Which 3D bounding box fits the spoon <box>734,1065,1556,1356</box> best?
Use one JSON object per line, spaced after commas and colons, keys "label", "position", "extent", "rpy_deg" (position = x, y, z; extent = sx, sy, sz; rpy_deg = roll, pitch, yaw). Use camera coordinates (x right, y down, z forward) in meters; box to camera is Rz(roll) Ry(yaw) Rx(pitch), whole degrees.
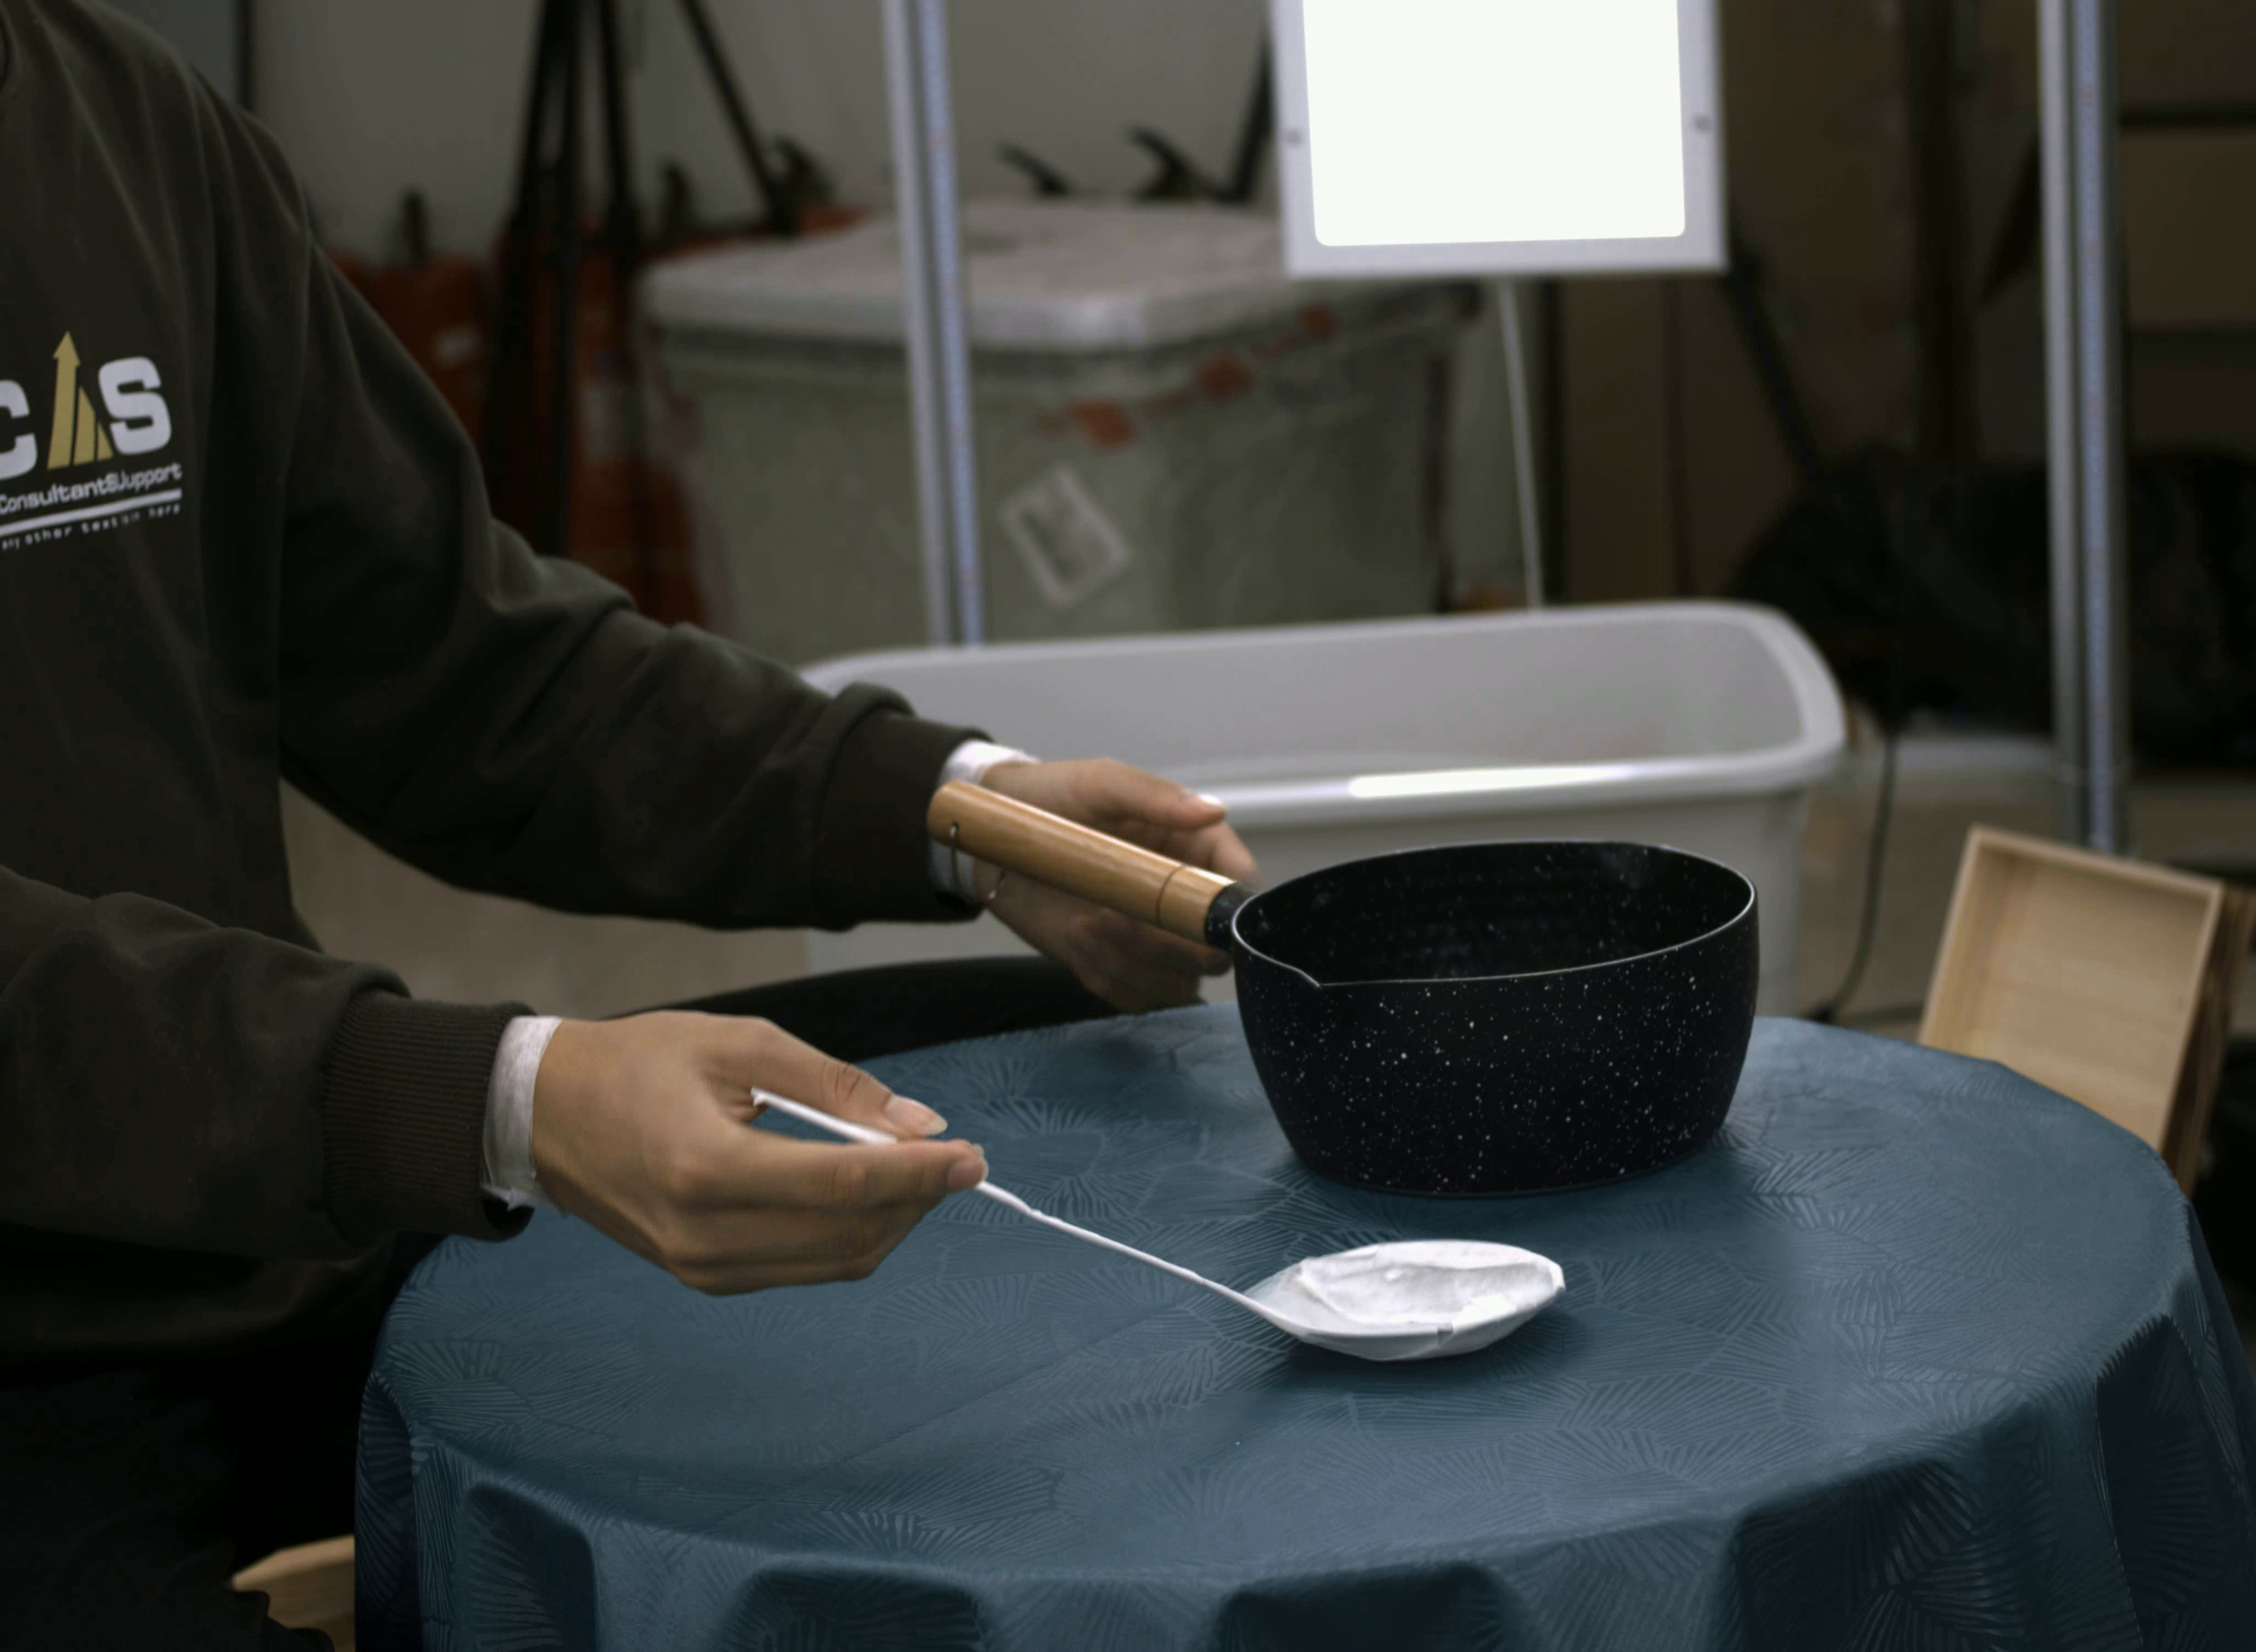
{"label": "spoon", "position": [0.006, 0.104, 1.689], "extent": [0.273, 0.059, 0.102], "rpy_deg": [26, -6, -23]}

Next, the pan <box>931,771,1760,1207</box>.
{"label": "pan", "position": [0.066, 0.050, 1.965], "extent": [0.350, 0.108, 0.202], "rpy_deg": [7, 19, 38]}
